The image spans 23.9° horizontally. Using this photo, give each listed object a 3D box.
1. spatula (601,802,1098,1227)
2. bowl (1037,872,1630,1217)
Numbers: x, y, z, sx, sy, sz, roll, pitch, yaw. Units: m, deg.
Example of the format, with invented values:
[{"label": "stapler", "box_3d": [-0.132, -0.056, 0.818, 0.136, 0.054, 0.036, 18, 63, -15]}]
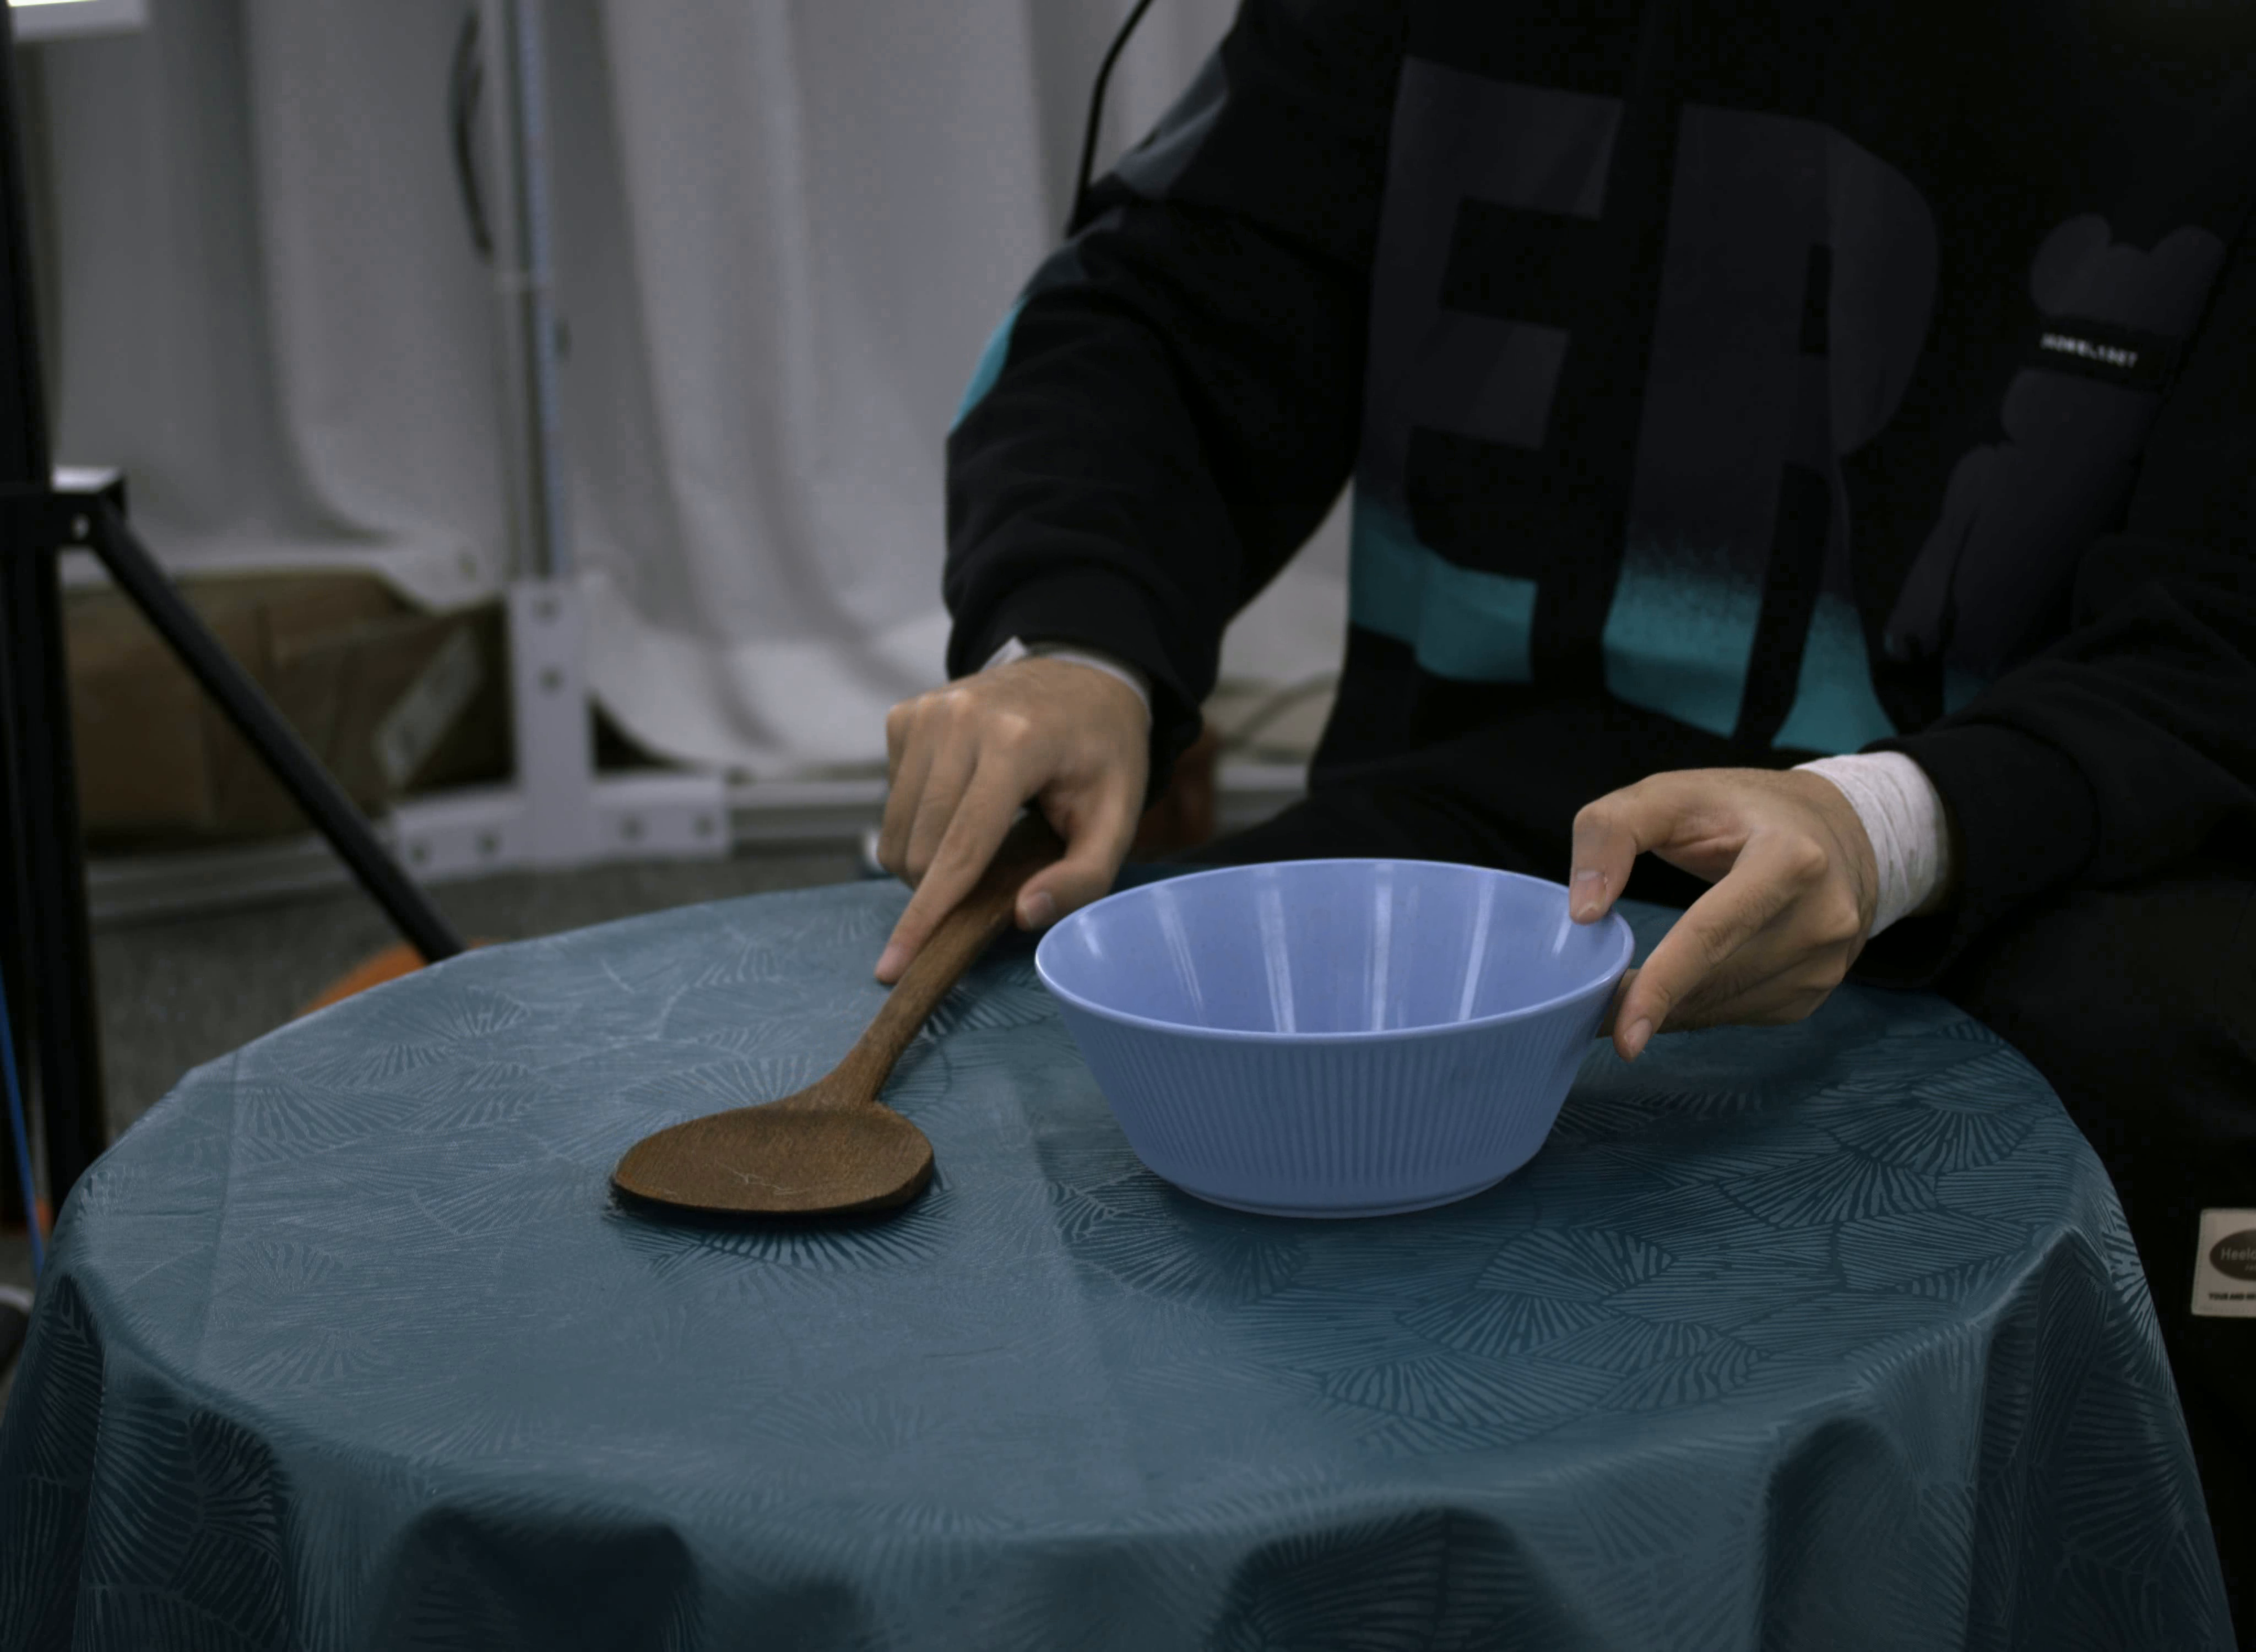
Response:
[{"label": "spatula", "box_3d": [-0.068, 0.054, 1.714, 0.097, 0.016, 0.383, 2, 19, 15]}, {"label": "bowl", "box_3d": [0.061, 0.067, 1.568, 0.175, 0.070, 0.177, -2, 14, -1]}]
